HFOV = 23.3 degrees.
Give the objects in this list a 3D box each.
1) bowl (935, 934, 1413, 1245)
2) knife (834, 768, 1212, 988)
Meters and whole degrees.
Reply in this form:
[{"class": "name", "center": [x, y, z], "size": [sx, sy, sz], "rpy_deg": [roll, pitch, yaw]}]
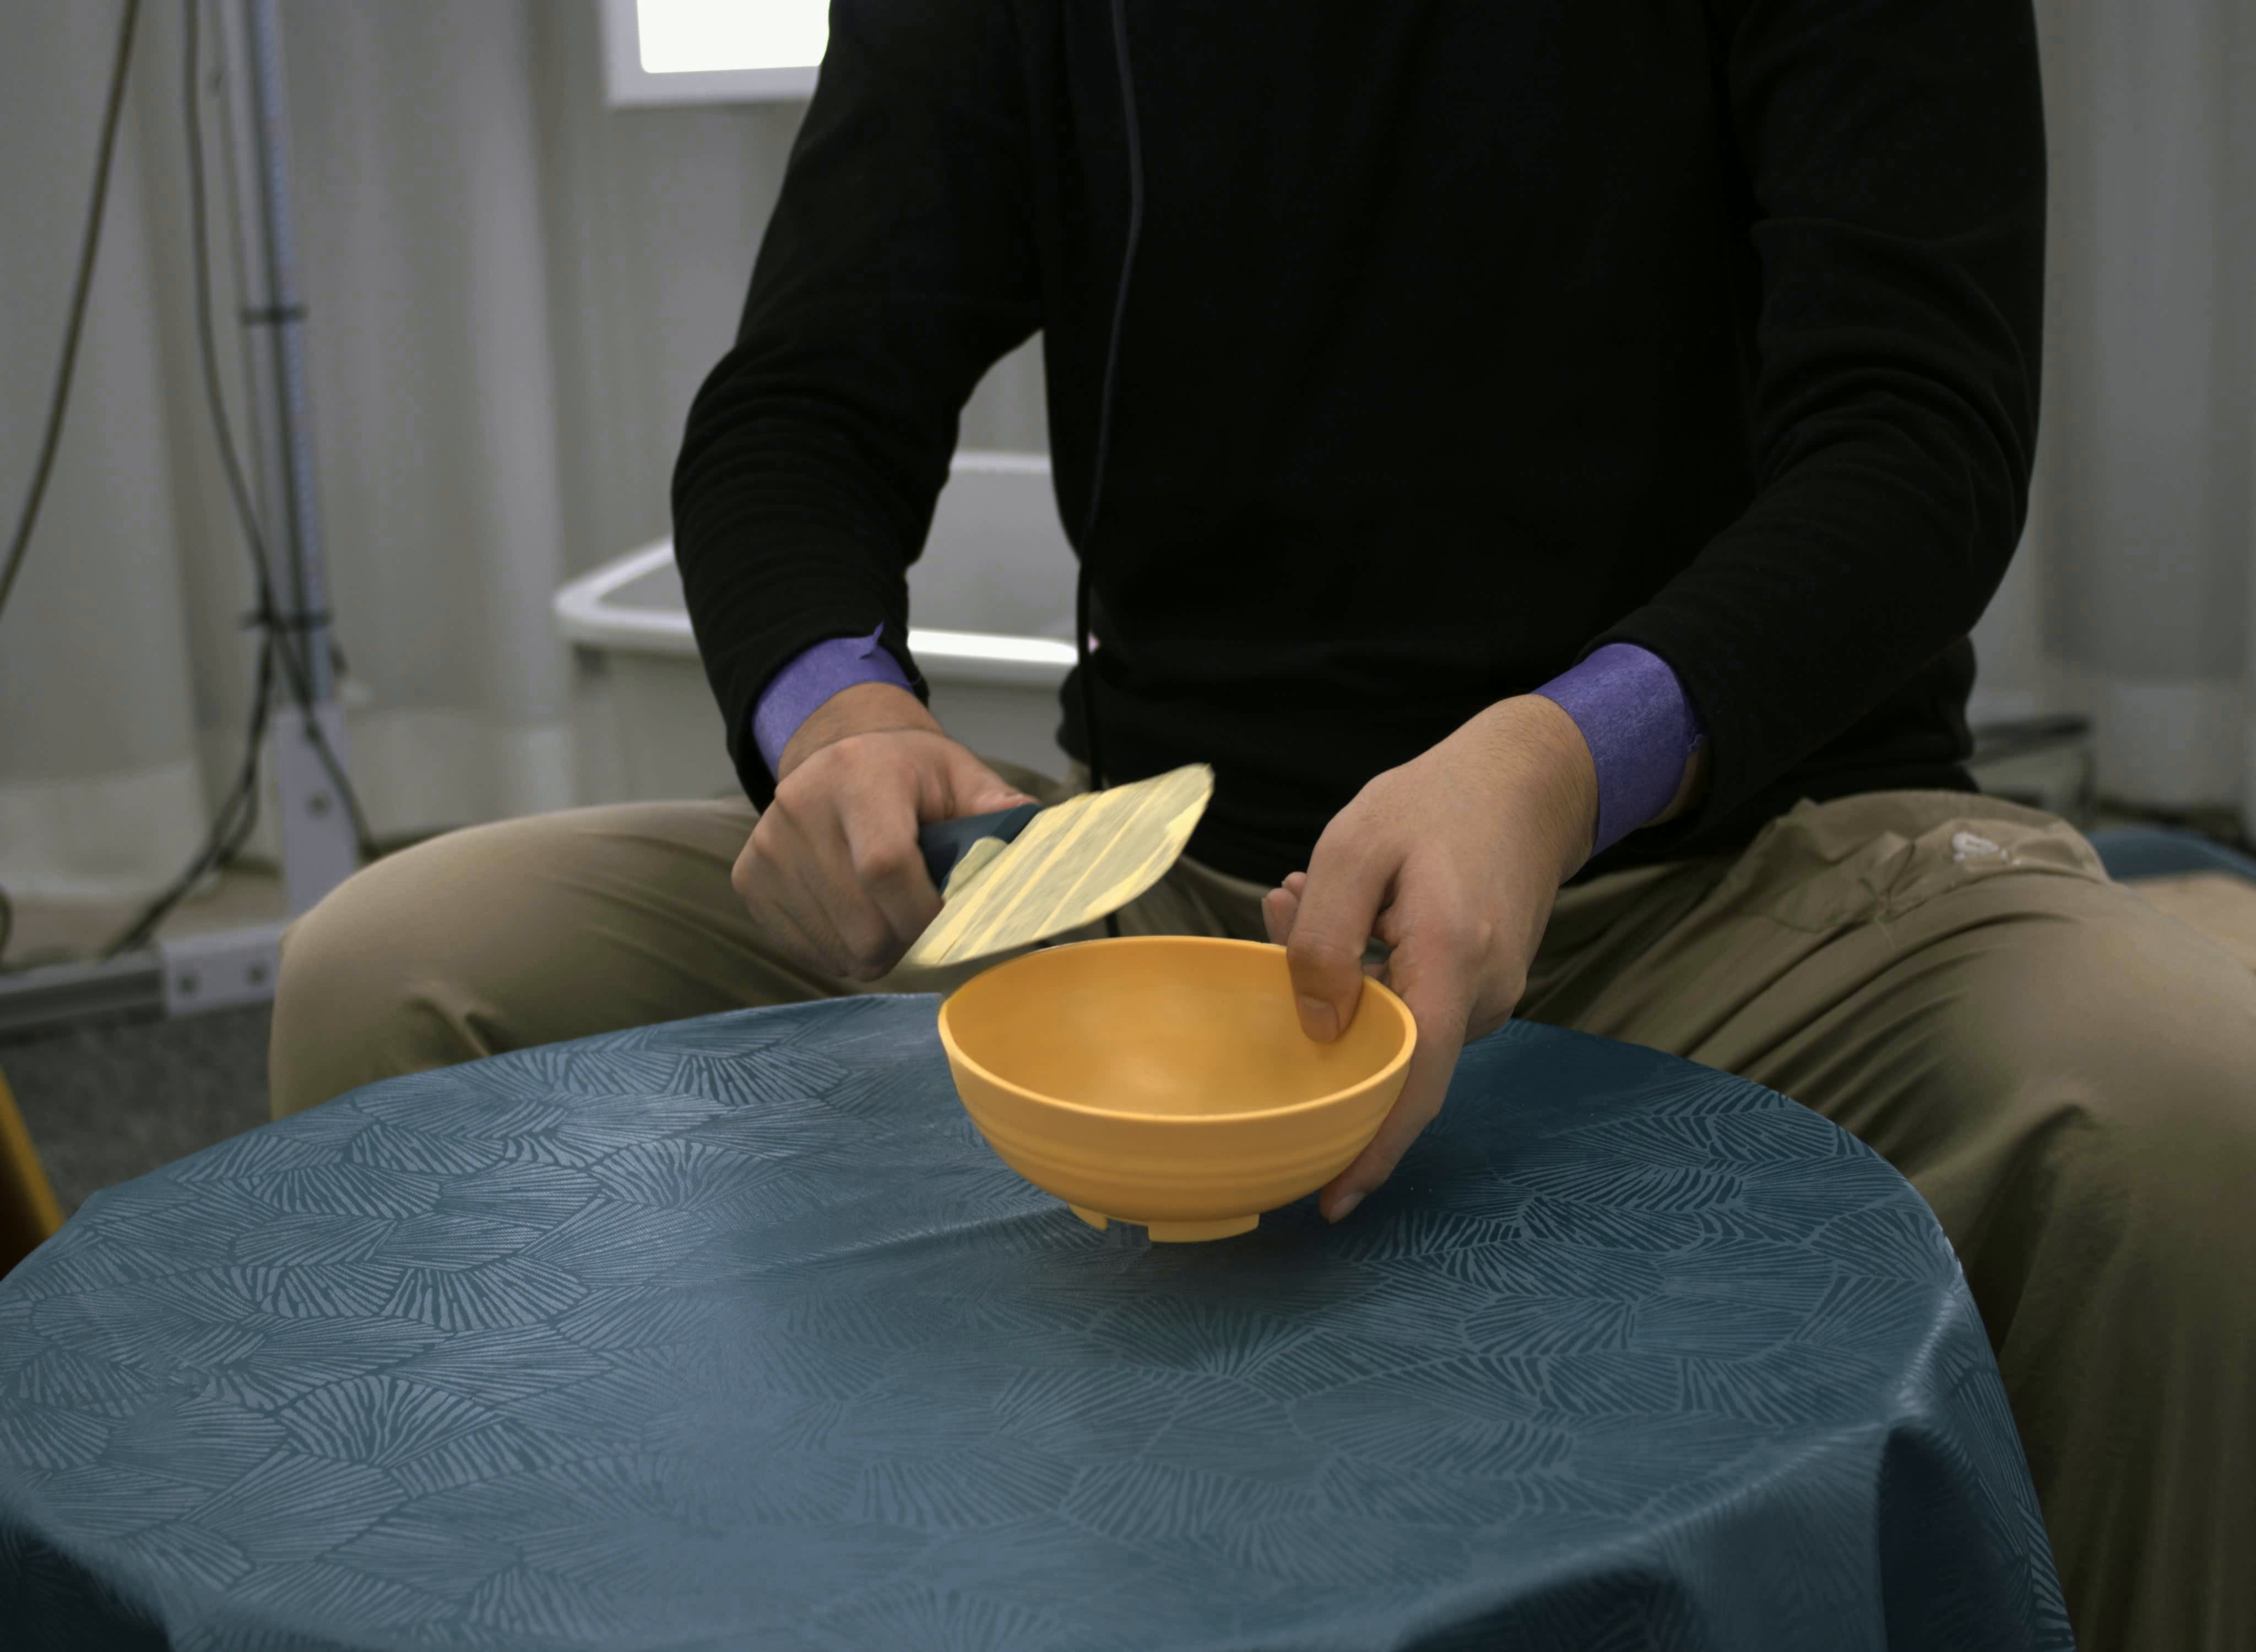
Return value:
[{"class": "bowl", "center": [0.012, 0.087, 1.656], "size": [0.145, 0.060, 0.146], "rpy_deg": [3, 20, -1]}, {"class": "knife", "center": [-0.042, 0.022, 1.707], "size": [0.081, 0.027, 0.289], "rpy_deg": [-46, 11, -21]}]
